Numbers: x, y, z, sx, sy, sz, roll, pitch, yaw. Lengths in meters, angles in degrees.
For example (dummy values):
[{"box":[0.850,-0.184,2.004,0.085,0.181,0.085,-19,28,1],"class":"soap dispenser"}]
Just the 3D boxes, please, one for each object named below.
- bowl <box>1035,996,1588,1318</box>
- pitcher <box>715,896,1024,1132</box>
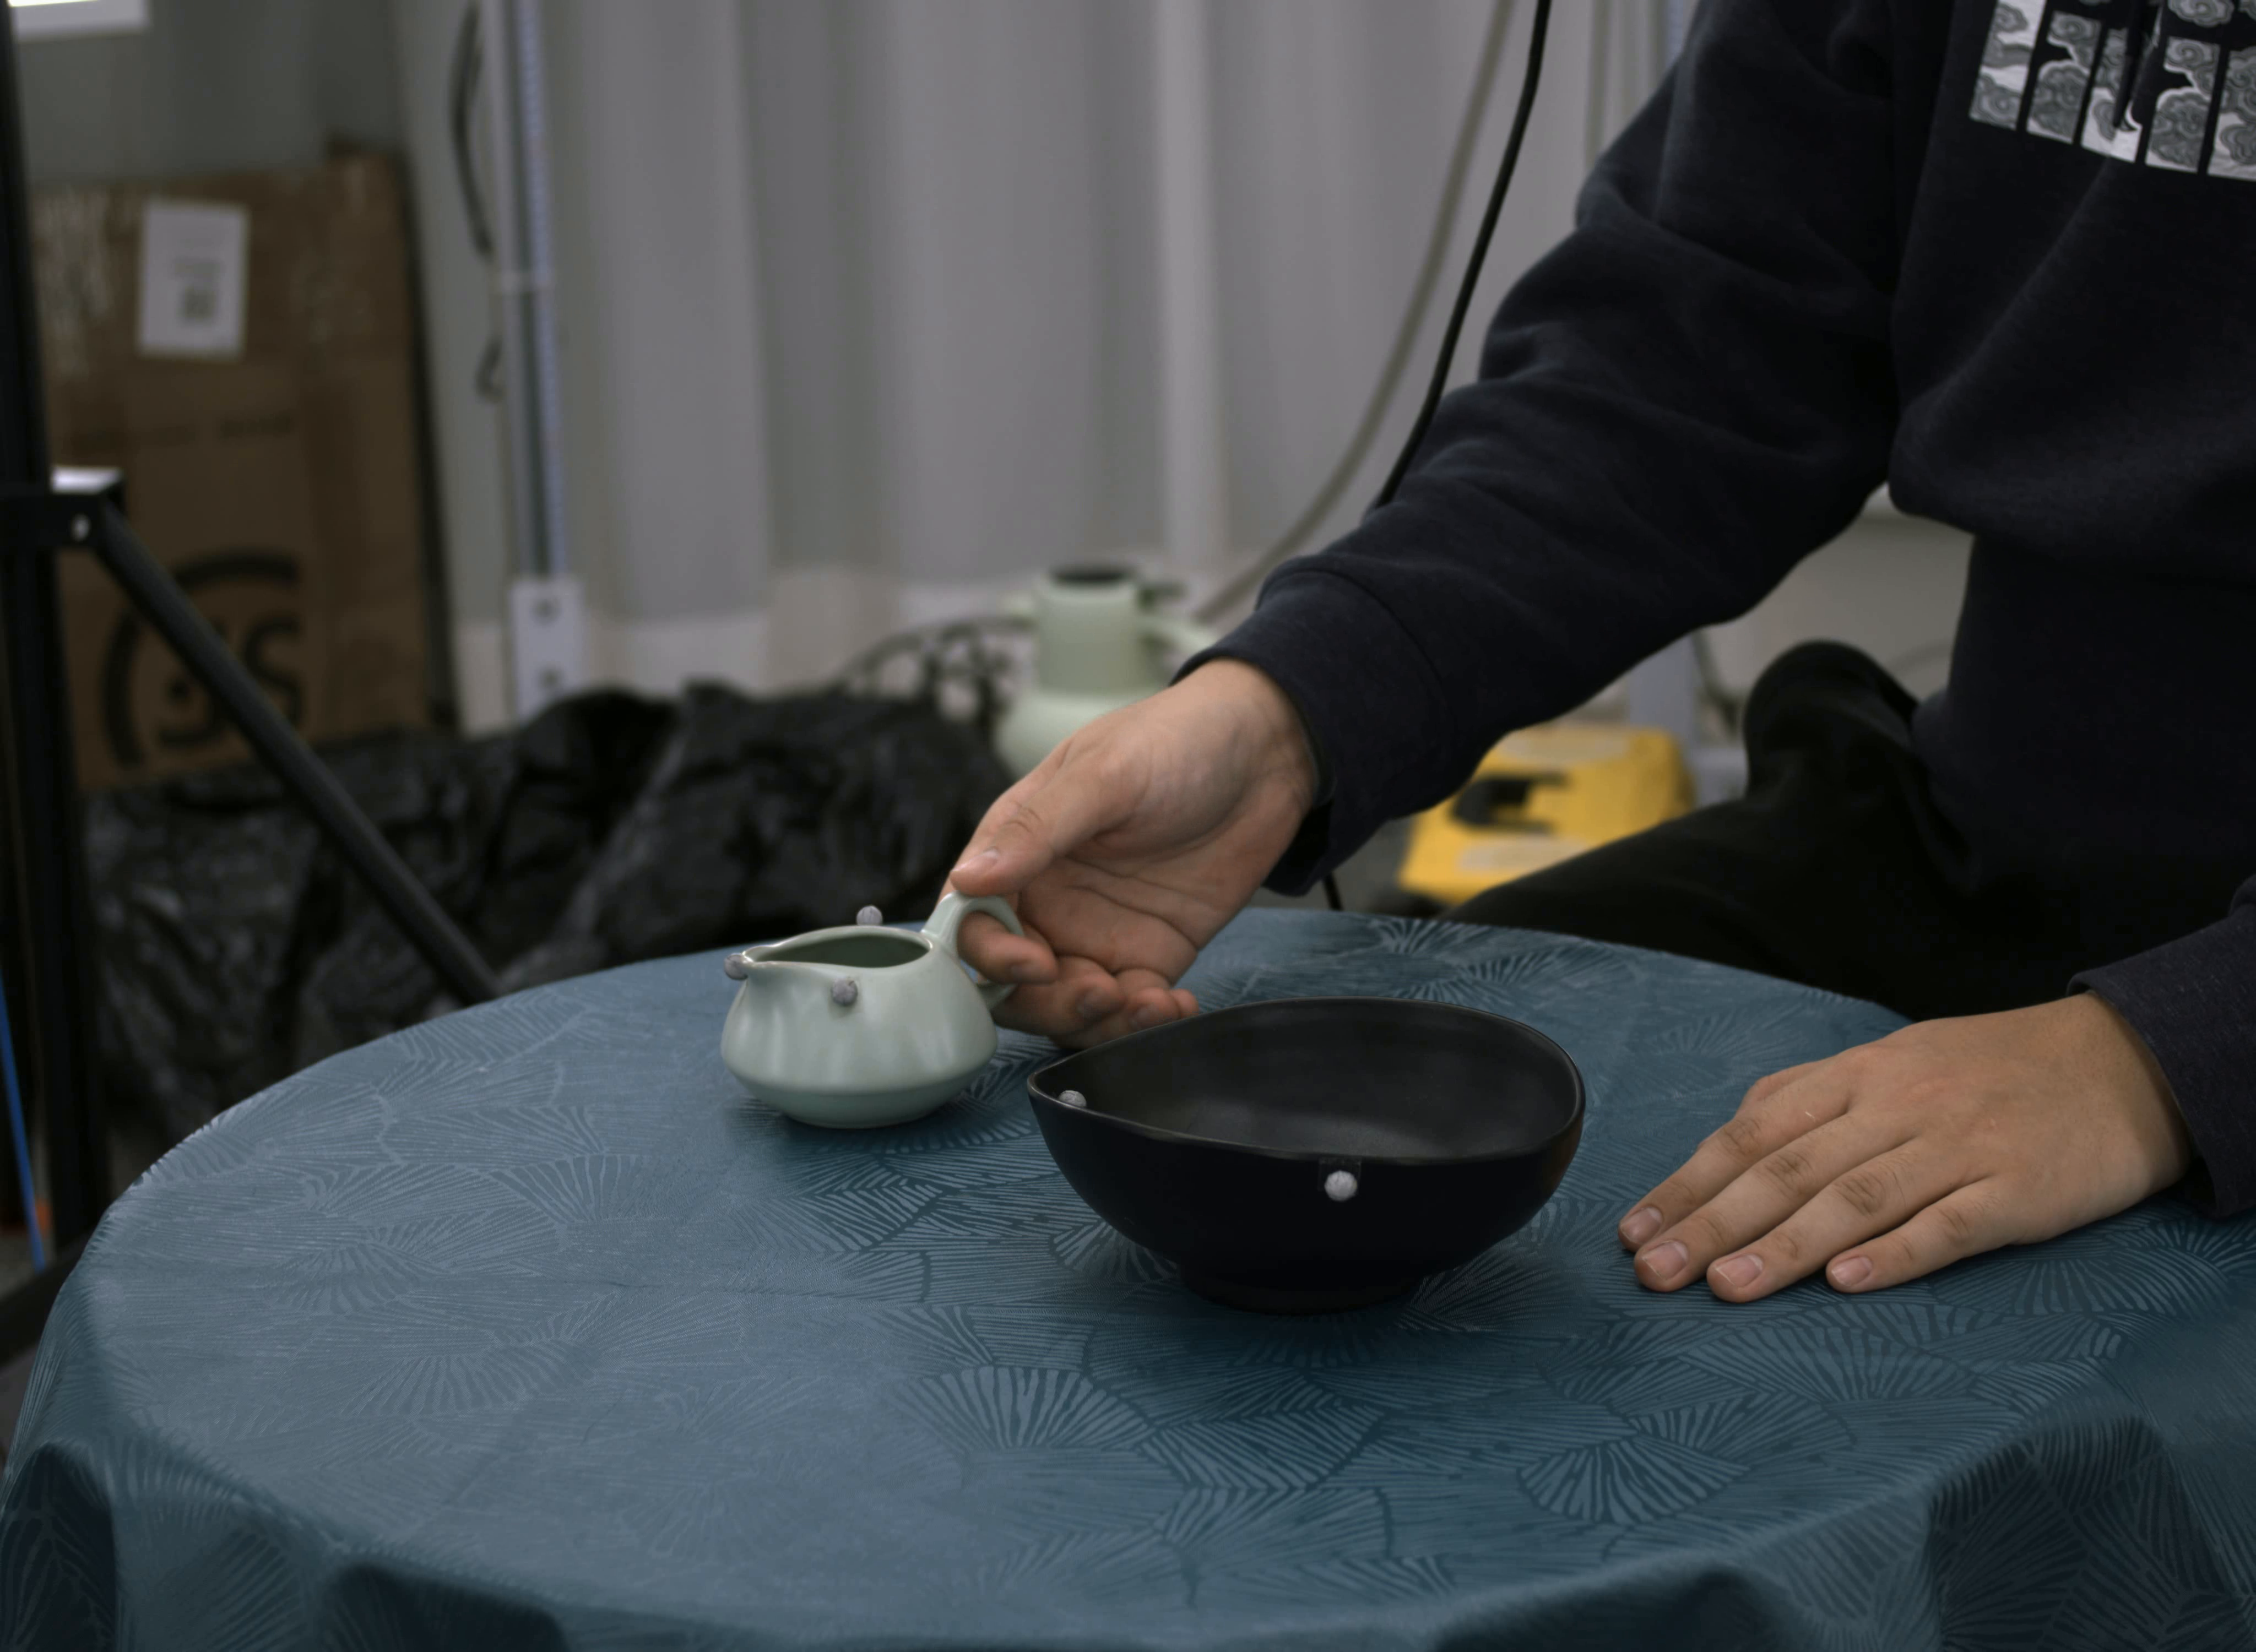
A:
[{"box":[0.049,0.096,1.476,0.174,0.067,0.134,10,19,40],"class":"bowl"},{"box":[-0.076,0.057,1.646,0.105,0.060,0.088,-13,20,-40],"class":"pitcher"}]
